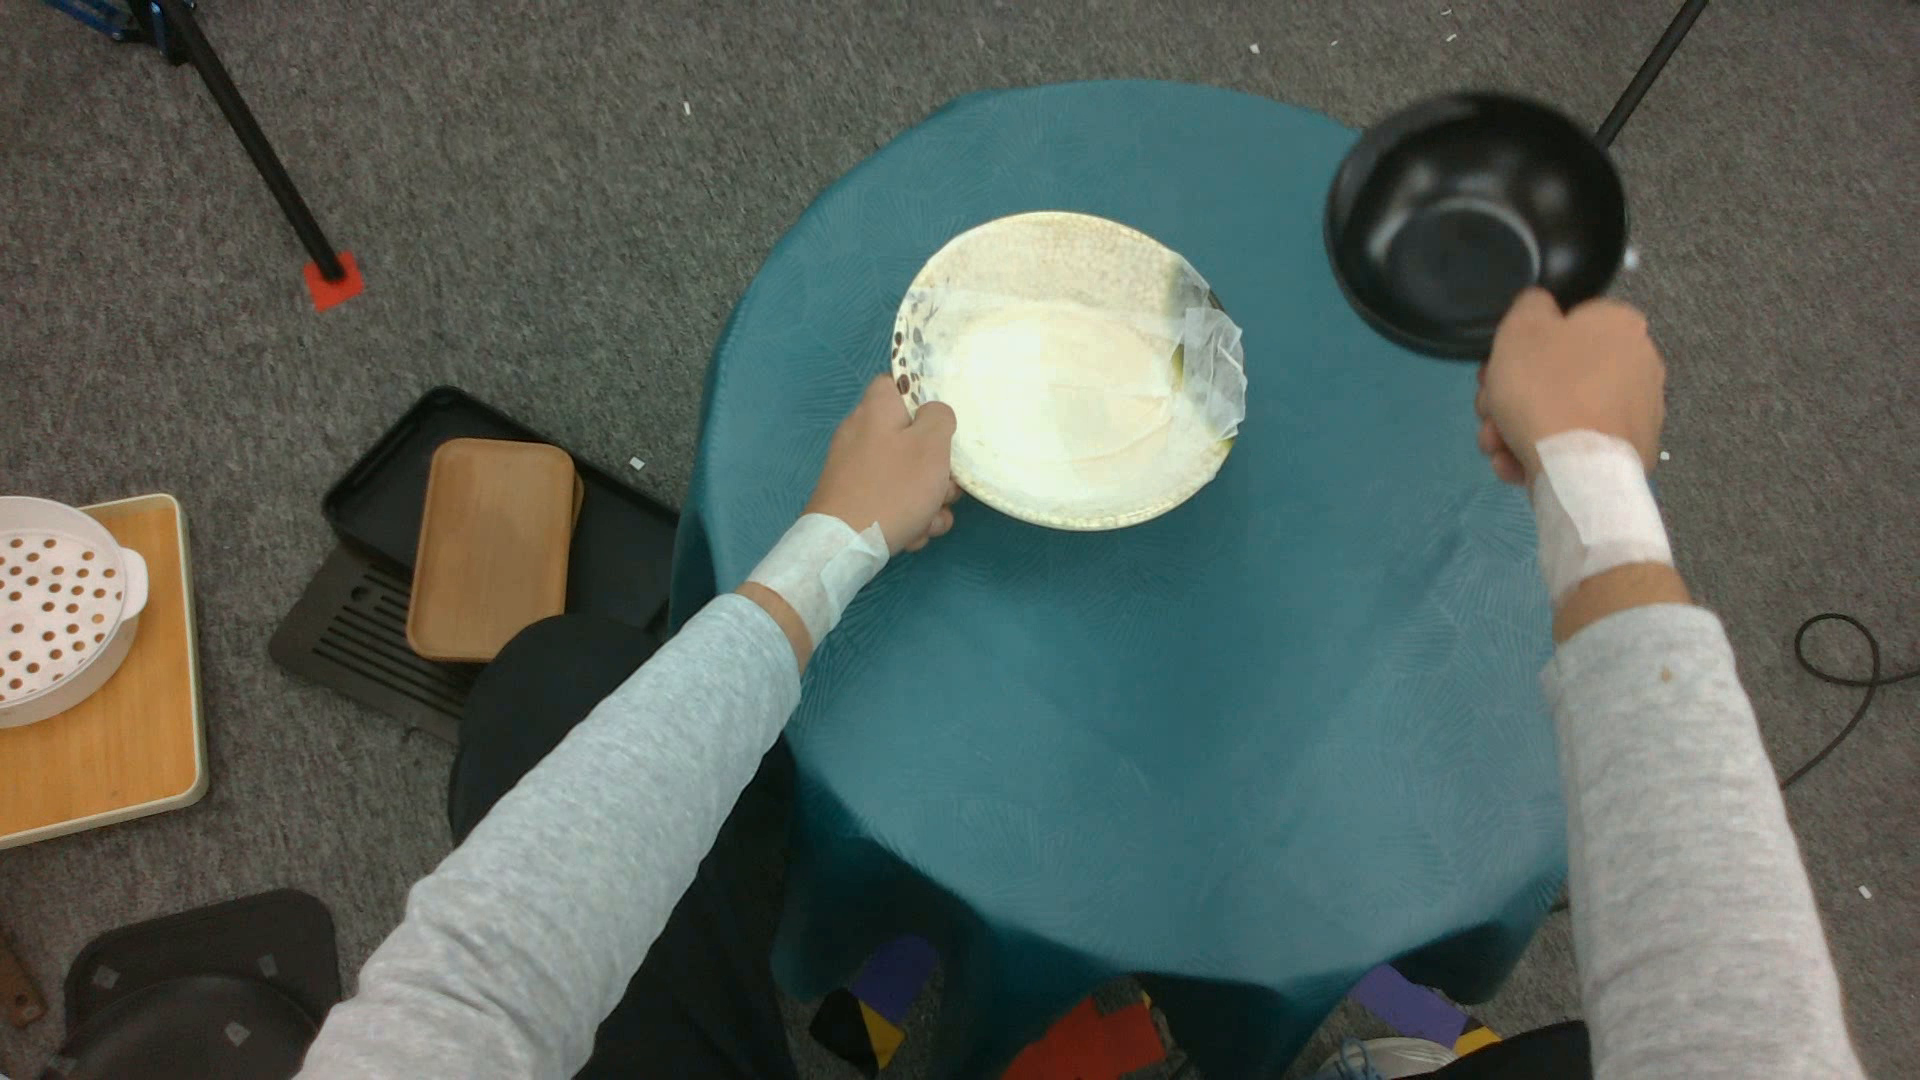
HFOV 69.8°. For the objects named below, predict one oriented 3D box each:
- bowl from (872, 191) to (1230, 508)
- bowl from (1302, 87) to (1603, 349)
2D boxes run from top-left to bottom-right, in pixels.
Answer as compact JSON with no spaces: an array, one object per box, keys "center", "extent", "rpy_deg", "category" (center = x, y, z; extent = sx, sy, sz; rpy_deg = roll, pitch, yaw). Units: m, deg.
[{"center":[0.048,-0.099,0.805],"extent":[0.204,0.077,0.204],"rpy_deg":[3,67,-7],"category":"bowl"},{"center":[0.242,-0.153,0.689],"extent":[0.140,0.049,0.140],"rpy_deg":[-4,72,12],"category":"bowl"}]
